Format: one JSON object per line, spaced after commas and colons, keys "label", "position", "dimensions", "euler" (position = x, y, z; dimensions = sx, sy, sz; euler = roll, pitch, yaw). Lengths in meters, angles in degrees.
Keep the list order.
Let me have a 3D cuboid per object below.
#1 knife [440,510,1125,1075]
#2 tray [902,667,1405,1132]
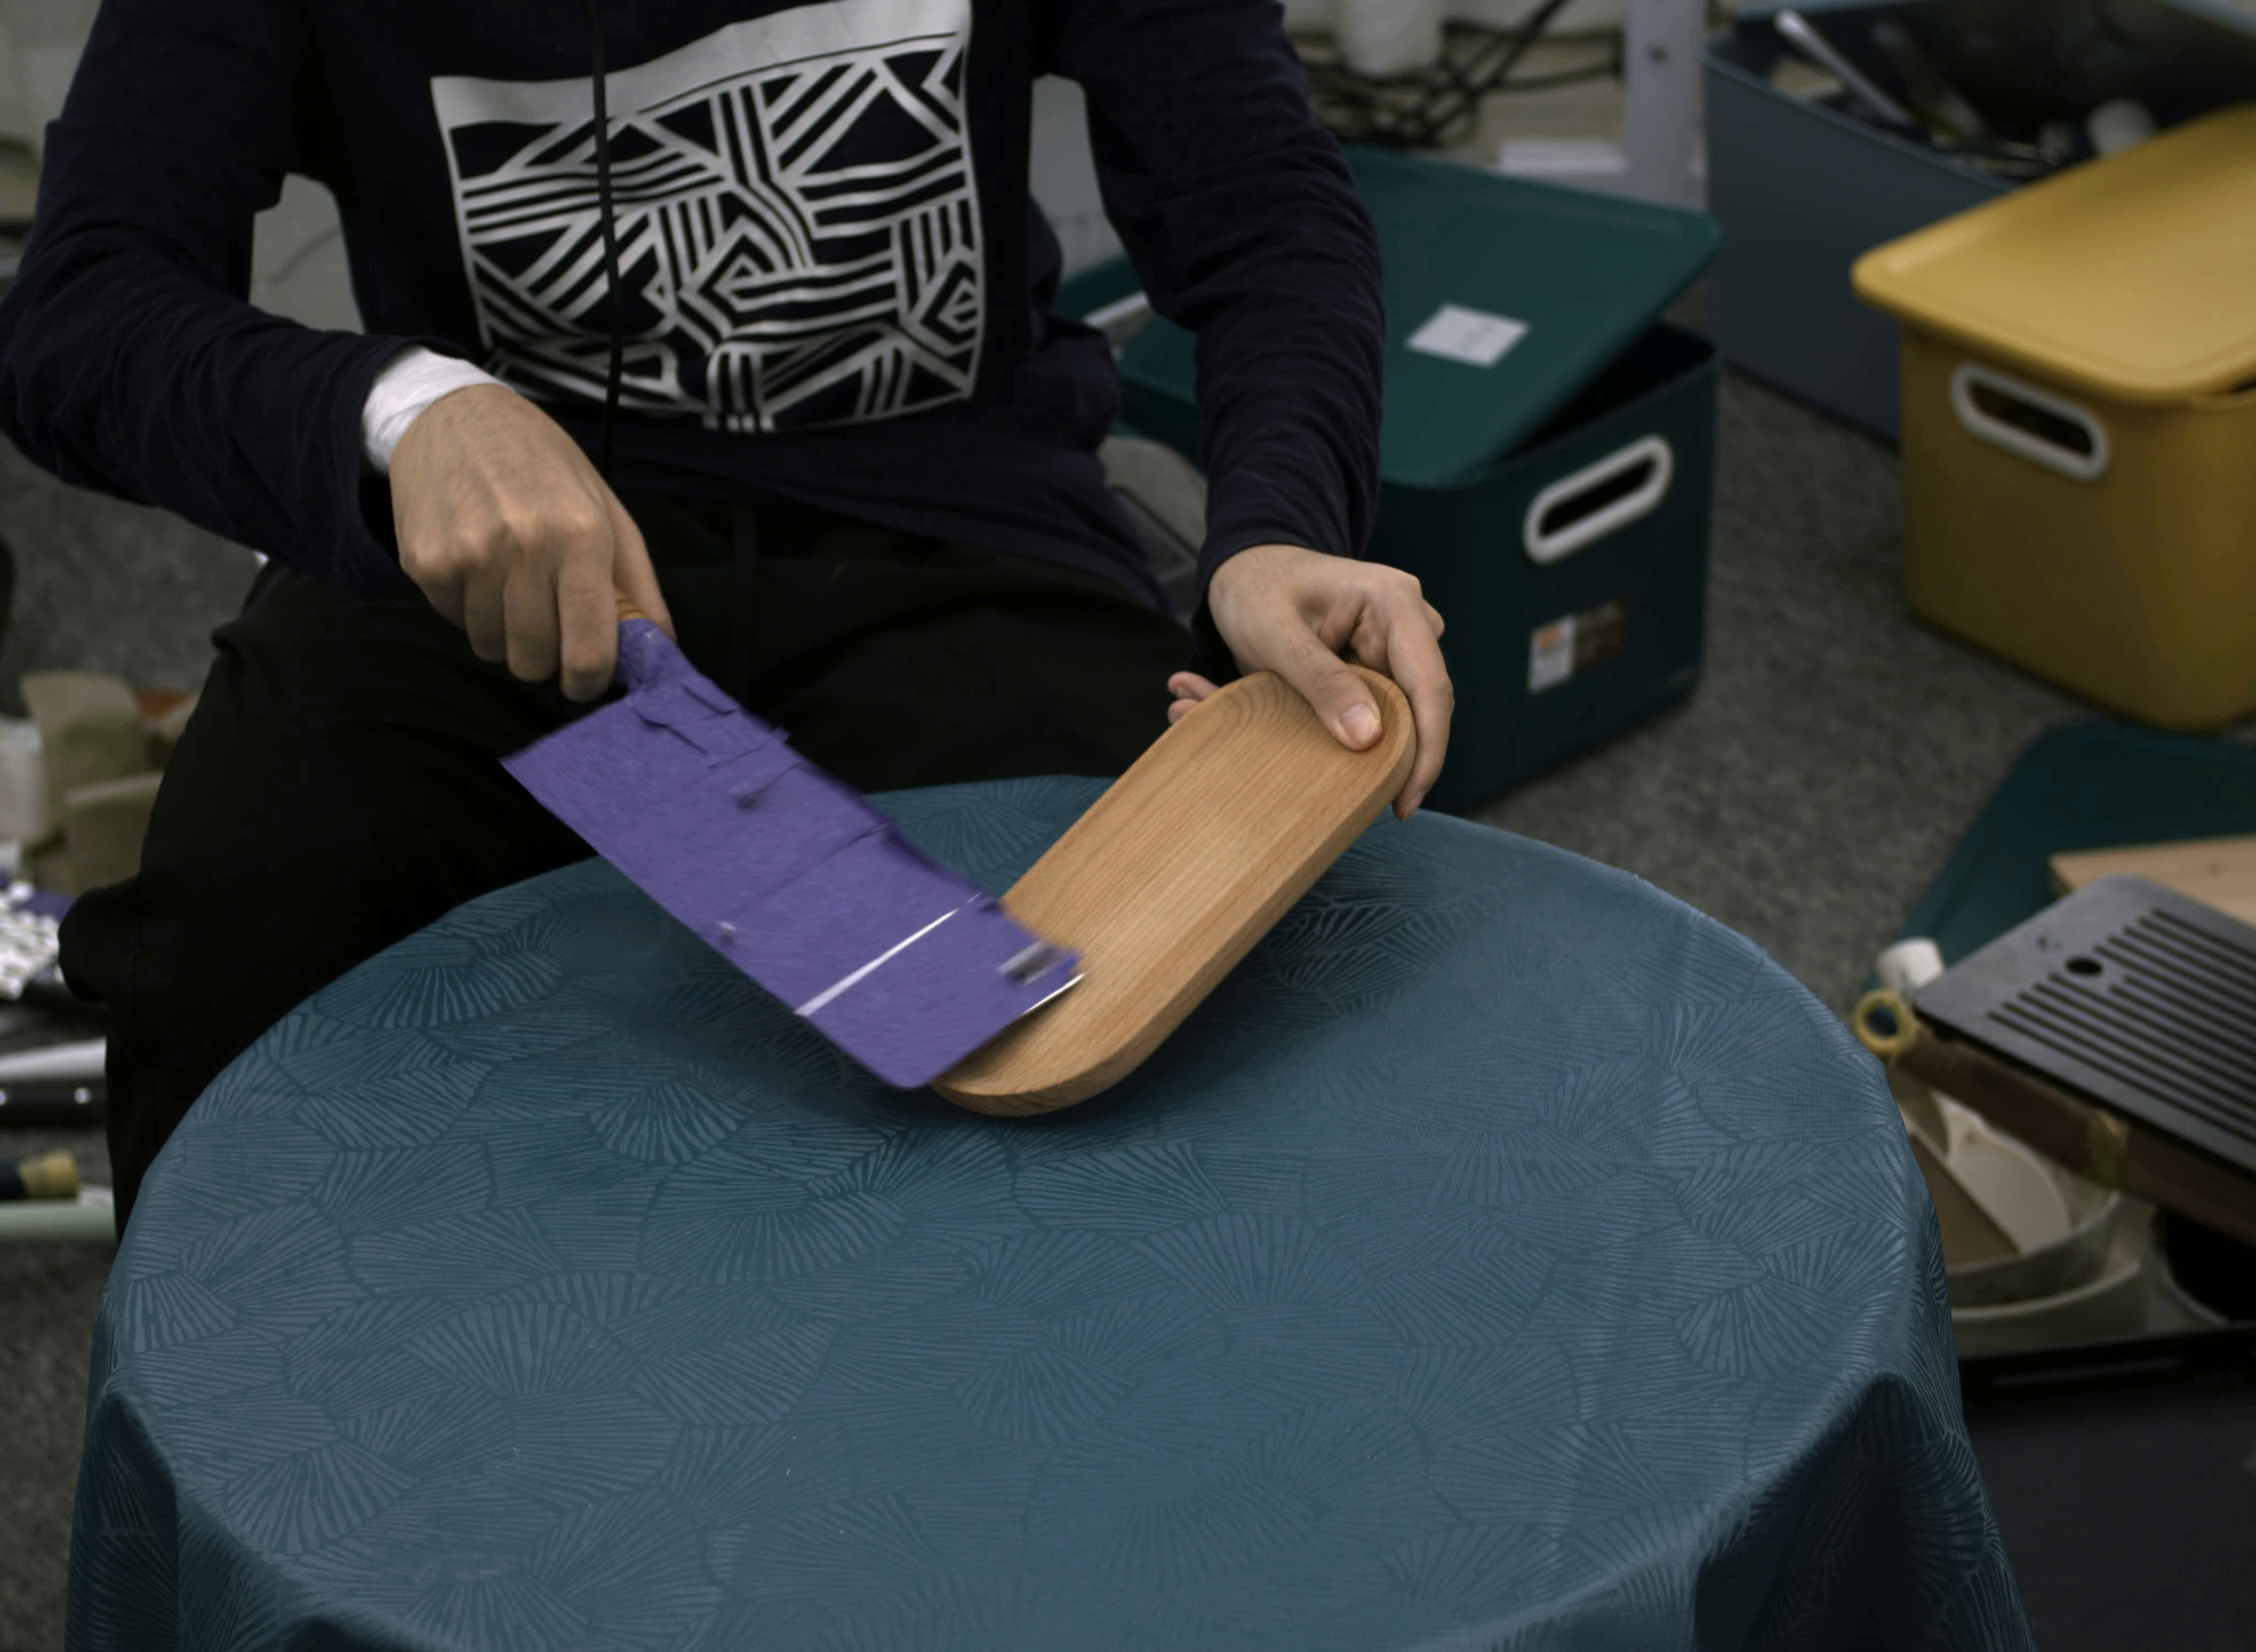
{"label": "knife", "position": [-0.148, -0.014, 1.984], "dimensions": [0.316, 0.031, 0.105], "euler": [33, 49, 28]}
{"label": "tray", "position": [0.011, 0.024, 1.960], "dimensions": [0.101, 0.020, 0.235], "euler": [14, 51, 41]}
